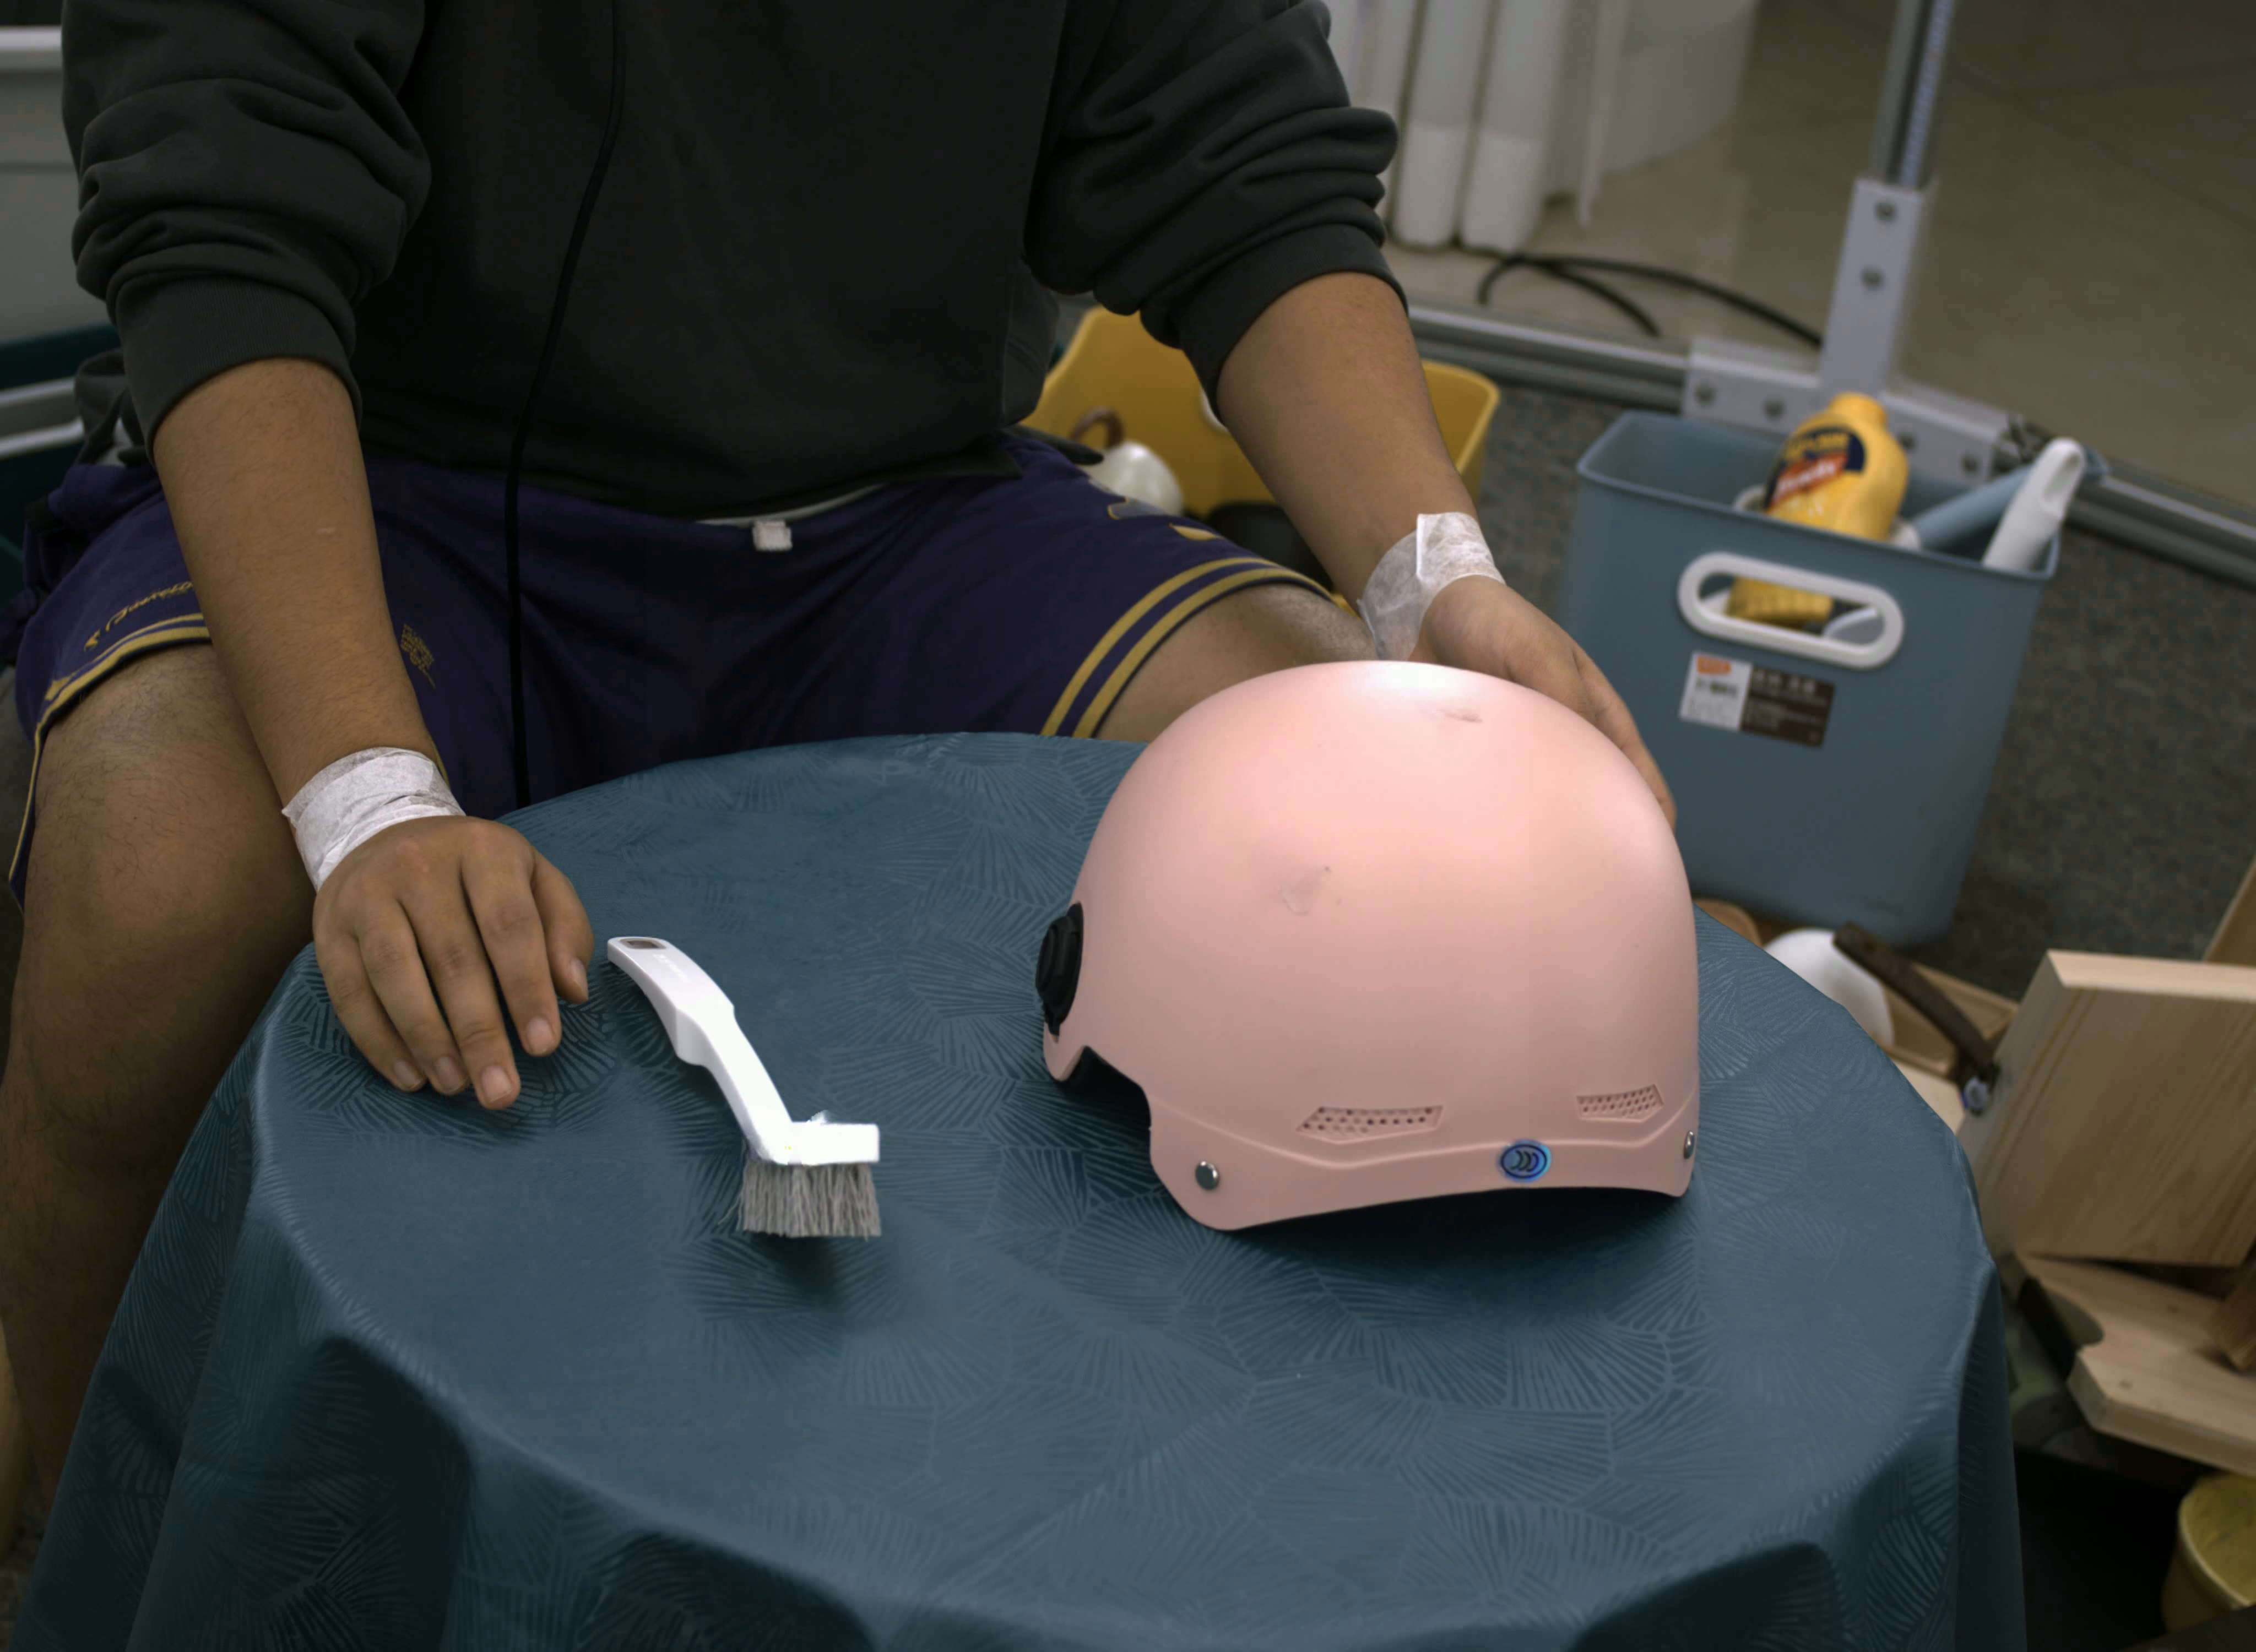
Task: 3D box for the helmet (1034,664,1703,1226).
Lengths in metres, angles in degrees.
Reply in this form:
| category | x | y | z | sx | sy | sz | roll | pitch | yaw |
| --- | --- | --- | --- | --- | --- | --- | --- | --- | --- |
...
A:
| category | x | y | z | sx | sy | sz | roll | pitch | yaw |
| --- | --- | --- | --- | --- | --- | --- | --- | --- | --- |
| helmet | 0.089 | 0.022 | 1.857 | 0.232 | 0.158 | 0.268 | -4 | 24 | -18 |

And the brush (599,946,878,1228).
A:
| category | x | y | z | sx | sy | sz | roll | pitch | yaw |
| --- | --- | --- | --- | --- | --- | --- | --- | --- | --- |
| brush | -0.137 | 0.092 | 1.808 | 0.034 | 0.050 | 0.245 | 1 | 13 | -23 |
